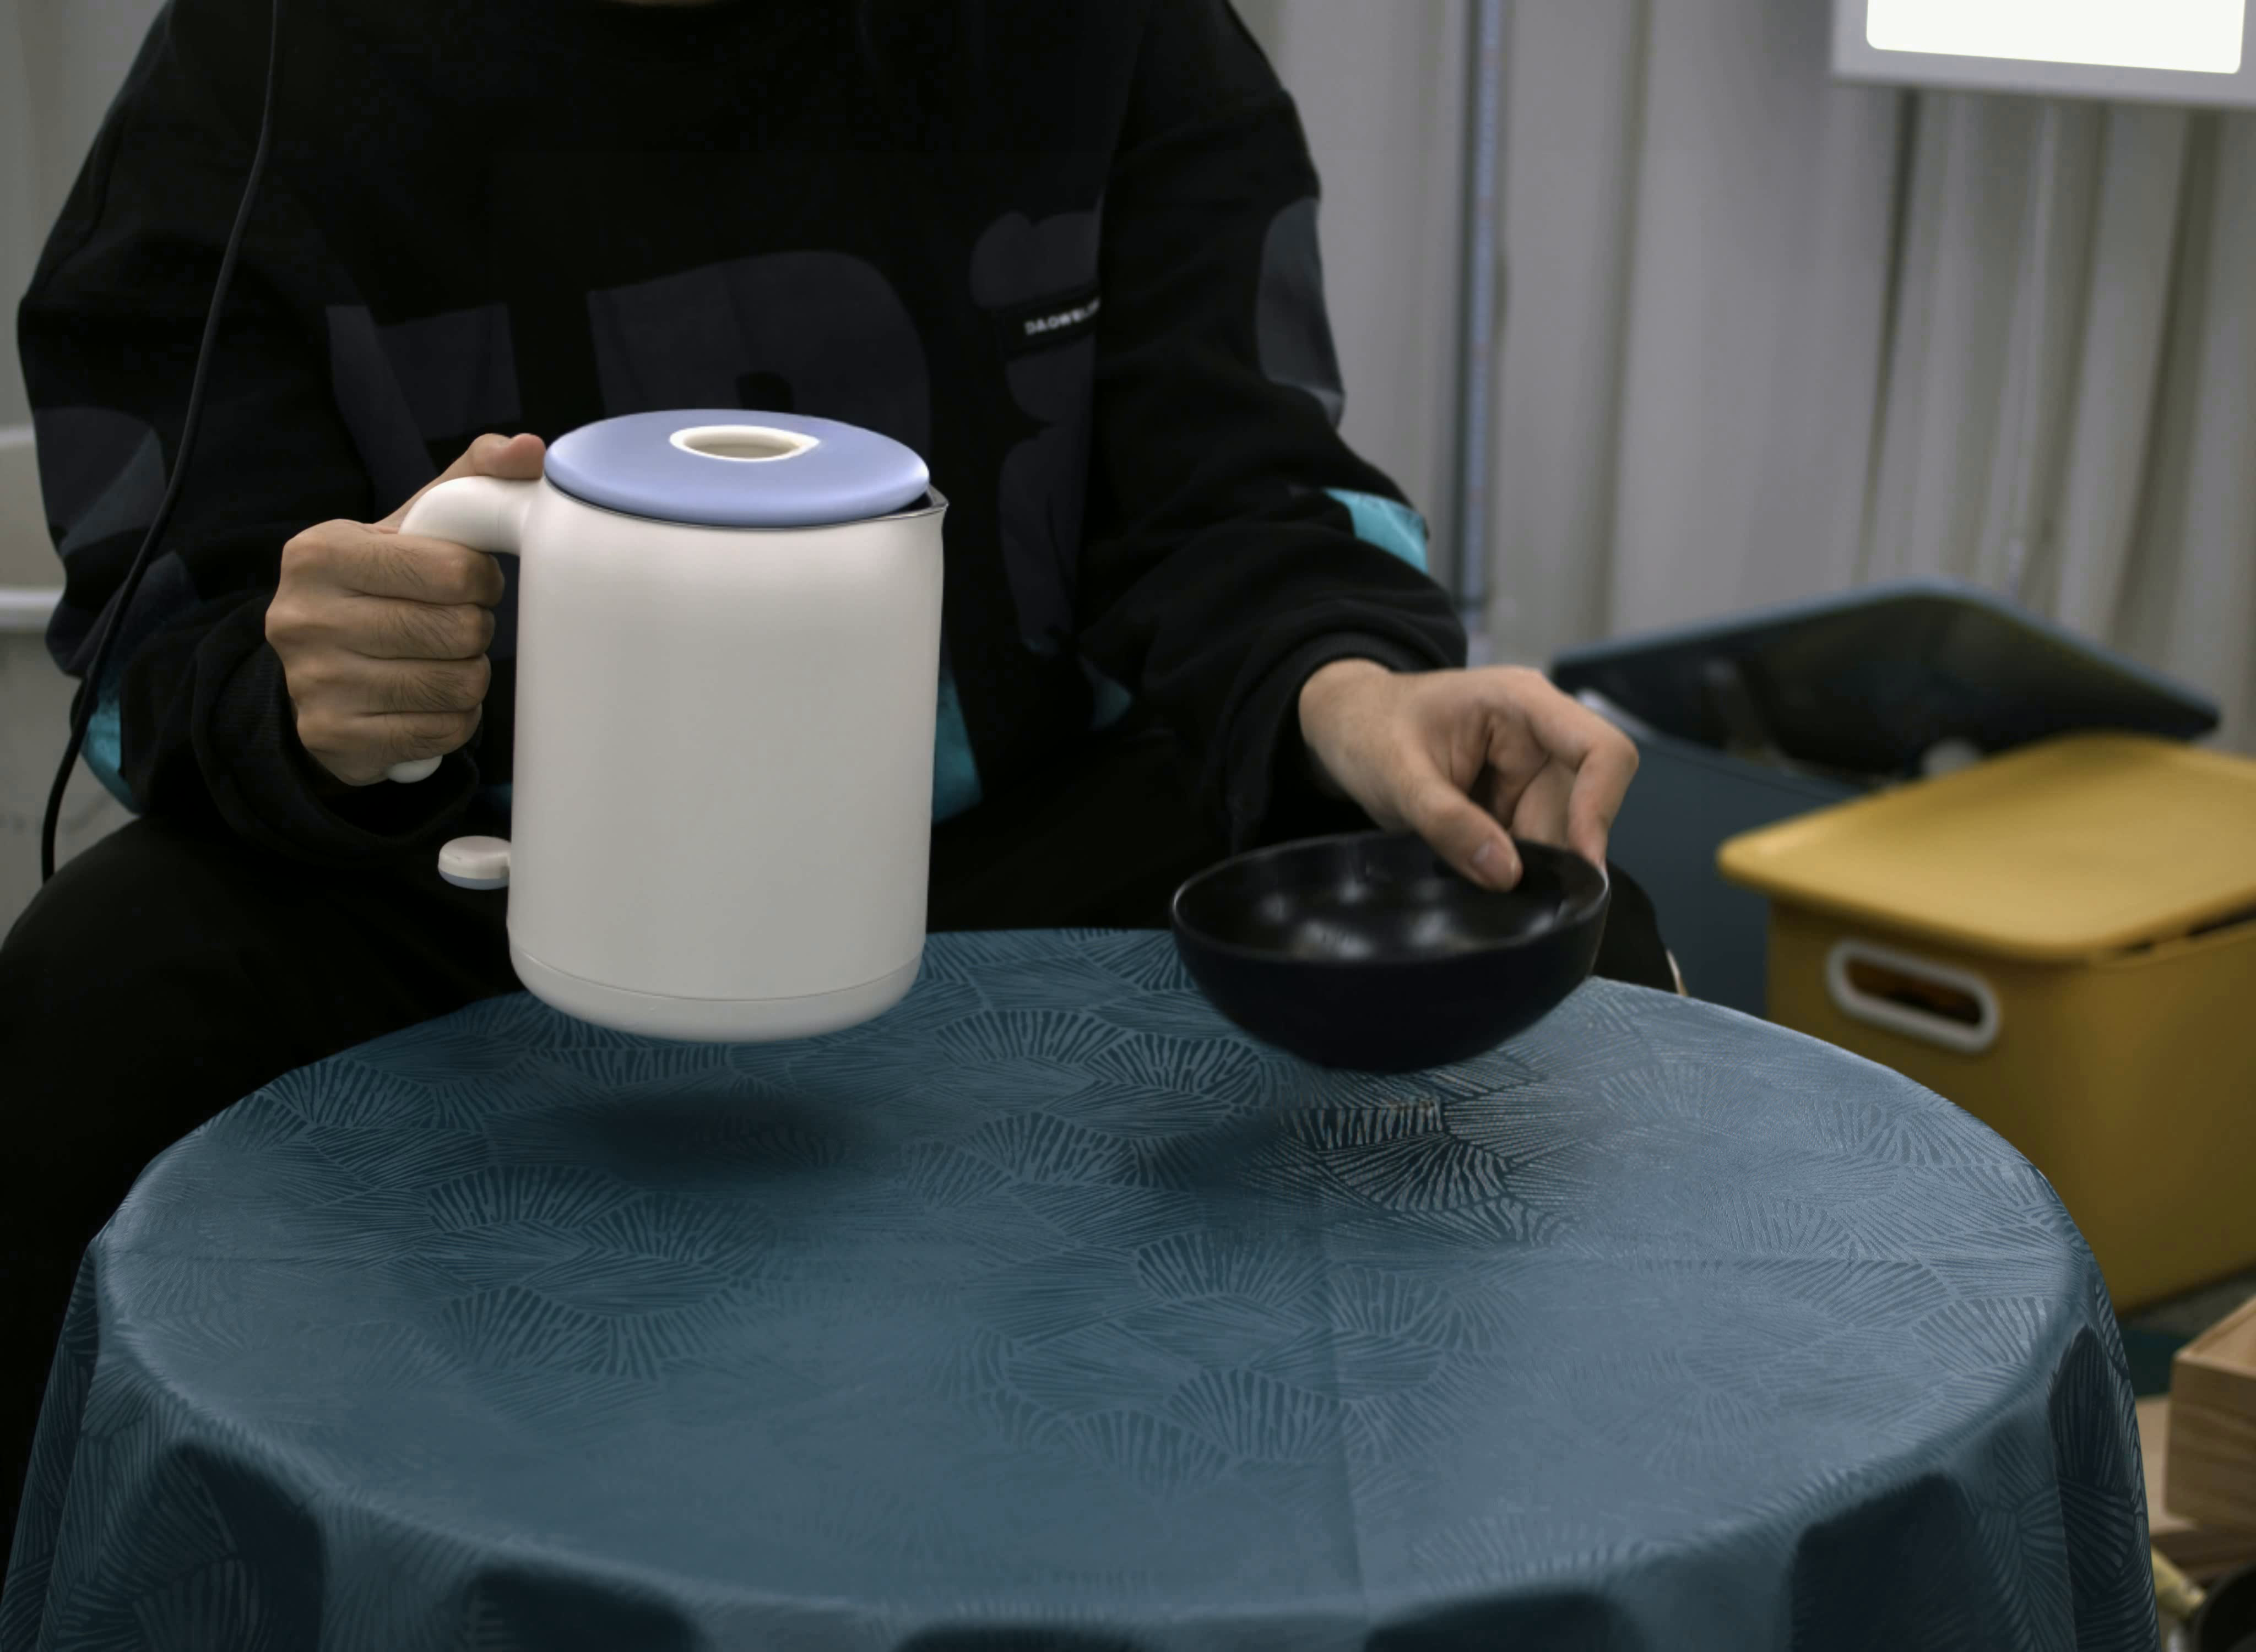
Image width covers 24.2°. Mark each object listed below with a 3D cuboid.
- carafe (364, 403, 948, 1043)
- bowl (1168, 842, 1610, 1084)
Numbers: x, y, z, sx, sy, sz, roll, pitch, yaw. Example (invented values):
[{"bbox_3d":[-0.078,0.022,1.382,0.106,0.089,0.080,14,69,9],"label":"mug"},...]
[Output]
[{"bbox_3d":[-0.148,-0.035,1.631,0.189,0.184,0.132,6,17,15],"label":"carafe"},{"bbox_3d":[0.083,0.047,1.650,0.139,0.050,0.139,-5,15,2],"label":"bowl"}]
